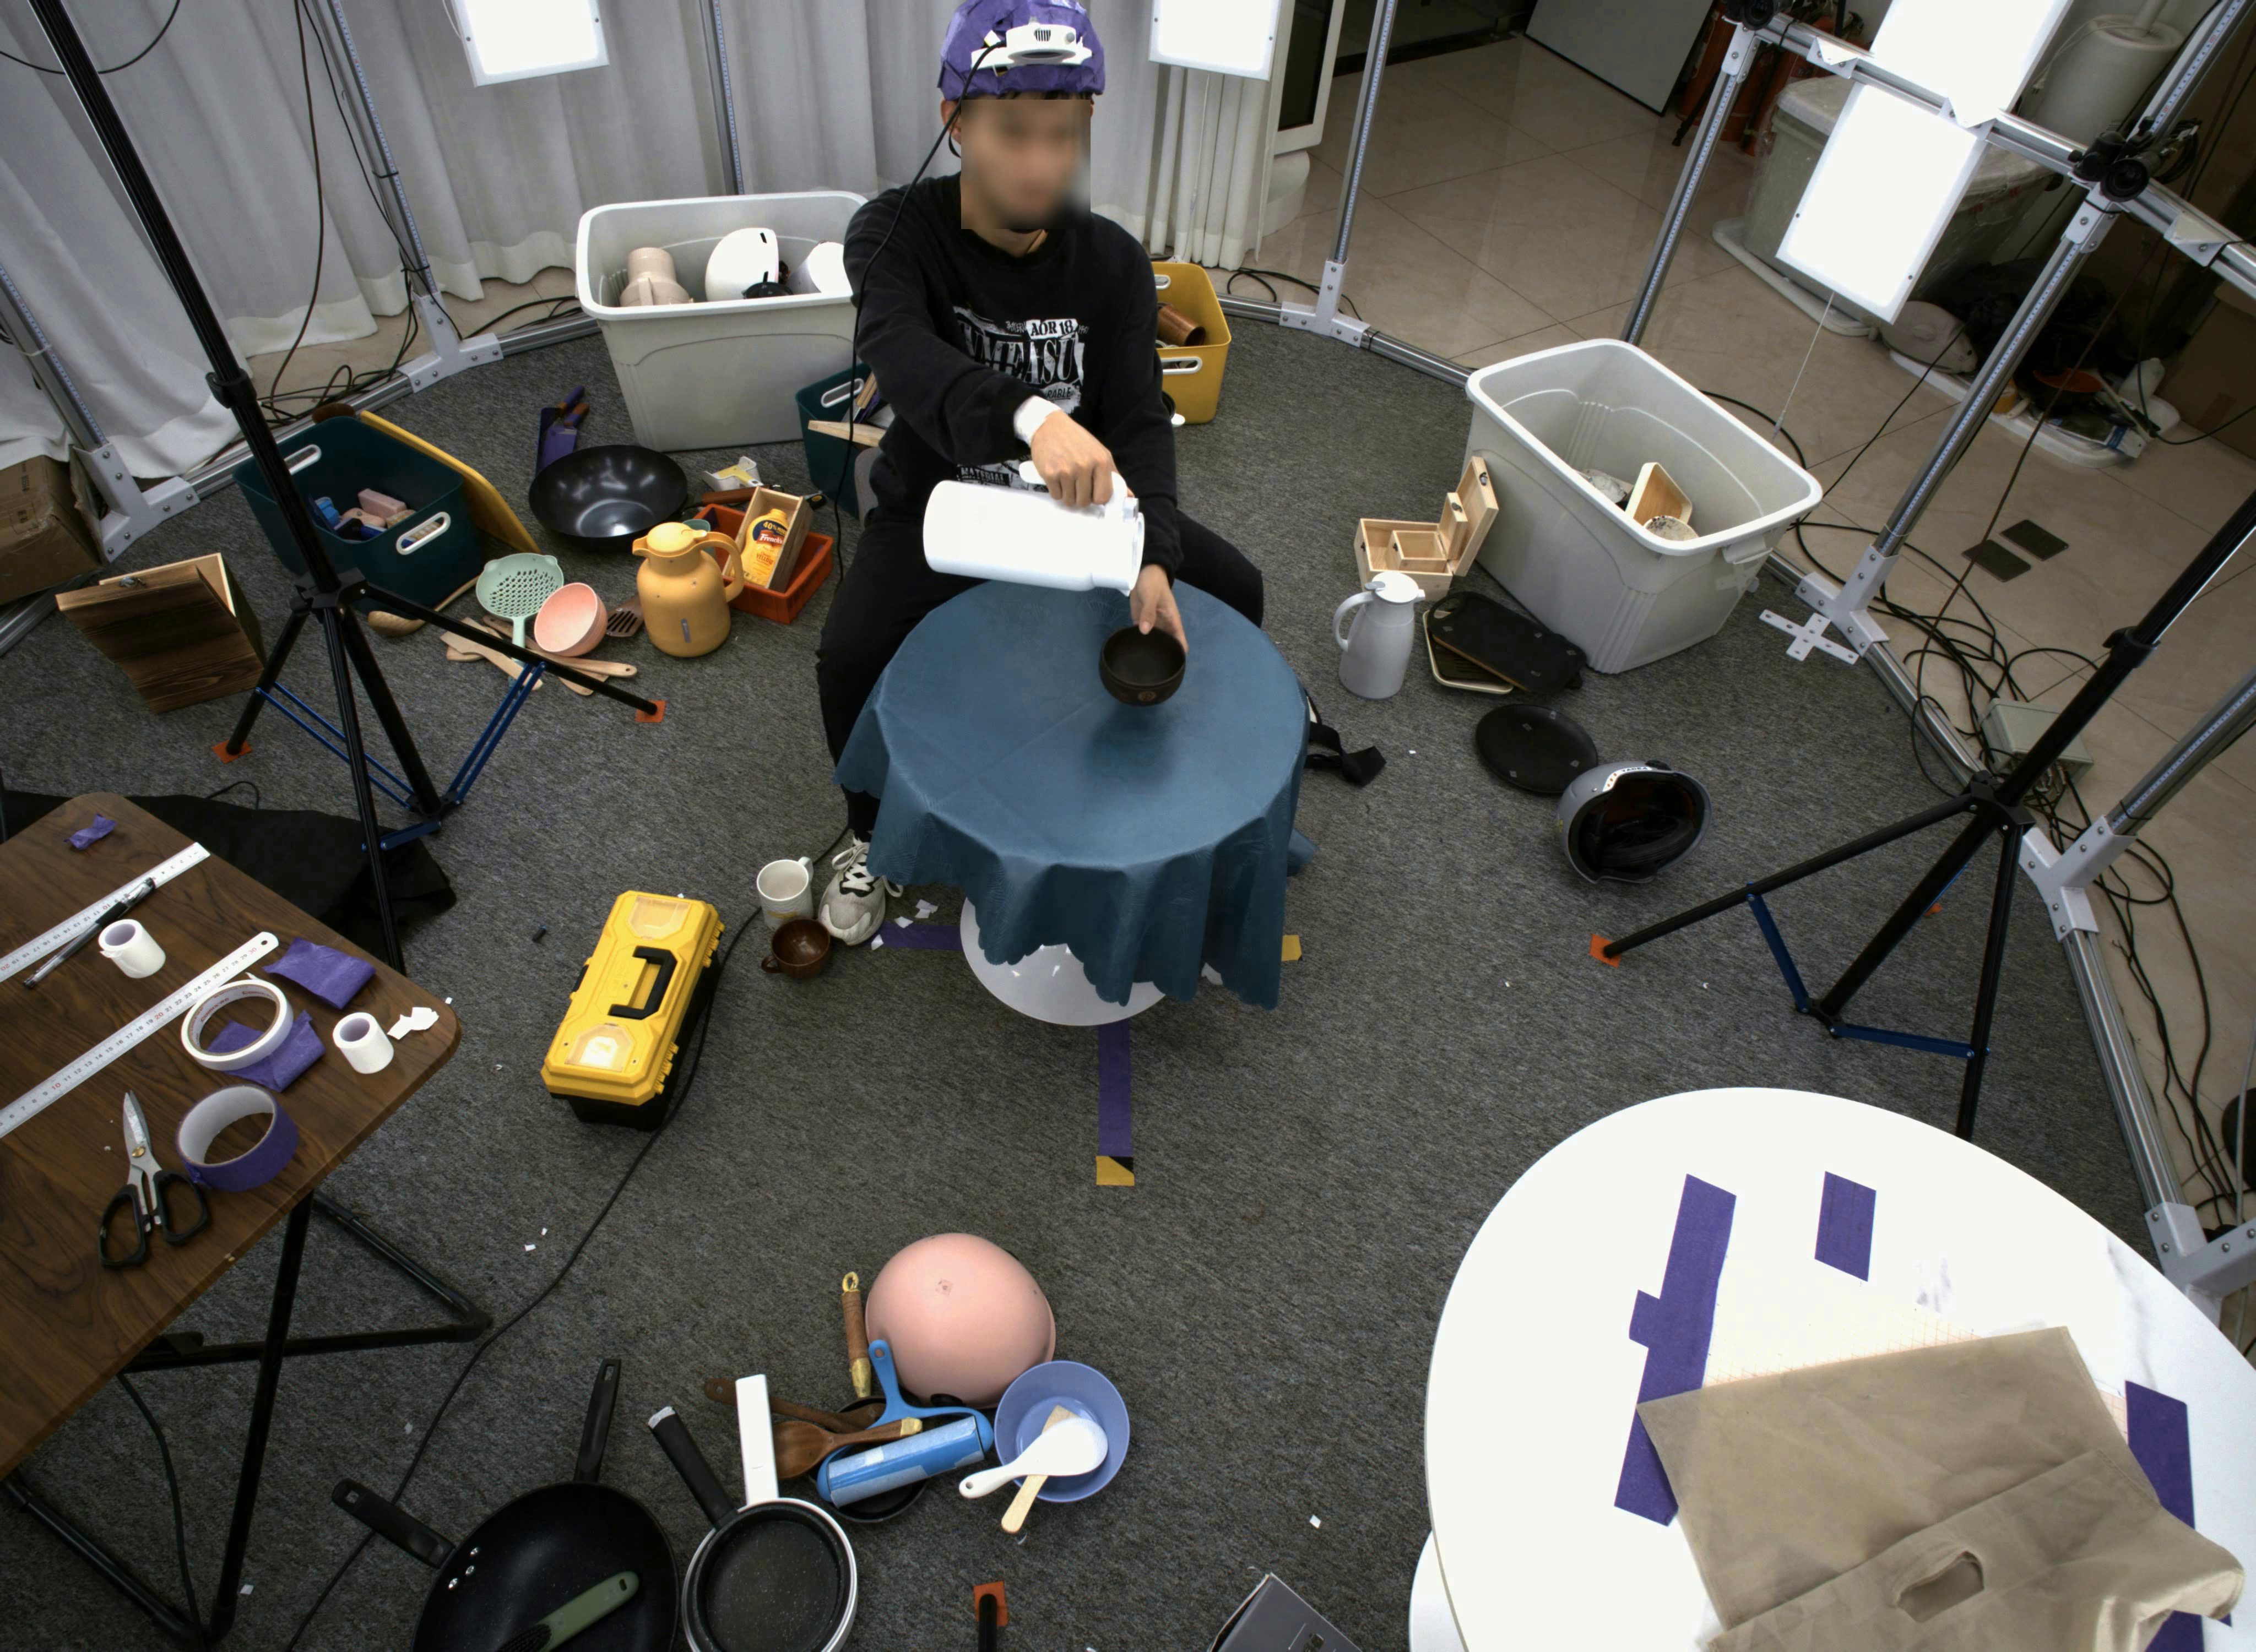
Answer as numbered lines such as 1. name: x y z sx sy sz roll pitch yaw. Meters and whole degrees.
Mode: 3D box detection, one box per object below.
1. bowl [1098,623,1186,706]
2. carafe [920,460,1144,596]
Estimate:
1. bowl: 0.017 -0.211 1.737 0.118 0.068 0.121 2 52 -3
2. carafe: -0.120 -0.375 1.620 0.269 0.168 0.126 11 47 11
